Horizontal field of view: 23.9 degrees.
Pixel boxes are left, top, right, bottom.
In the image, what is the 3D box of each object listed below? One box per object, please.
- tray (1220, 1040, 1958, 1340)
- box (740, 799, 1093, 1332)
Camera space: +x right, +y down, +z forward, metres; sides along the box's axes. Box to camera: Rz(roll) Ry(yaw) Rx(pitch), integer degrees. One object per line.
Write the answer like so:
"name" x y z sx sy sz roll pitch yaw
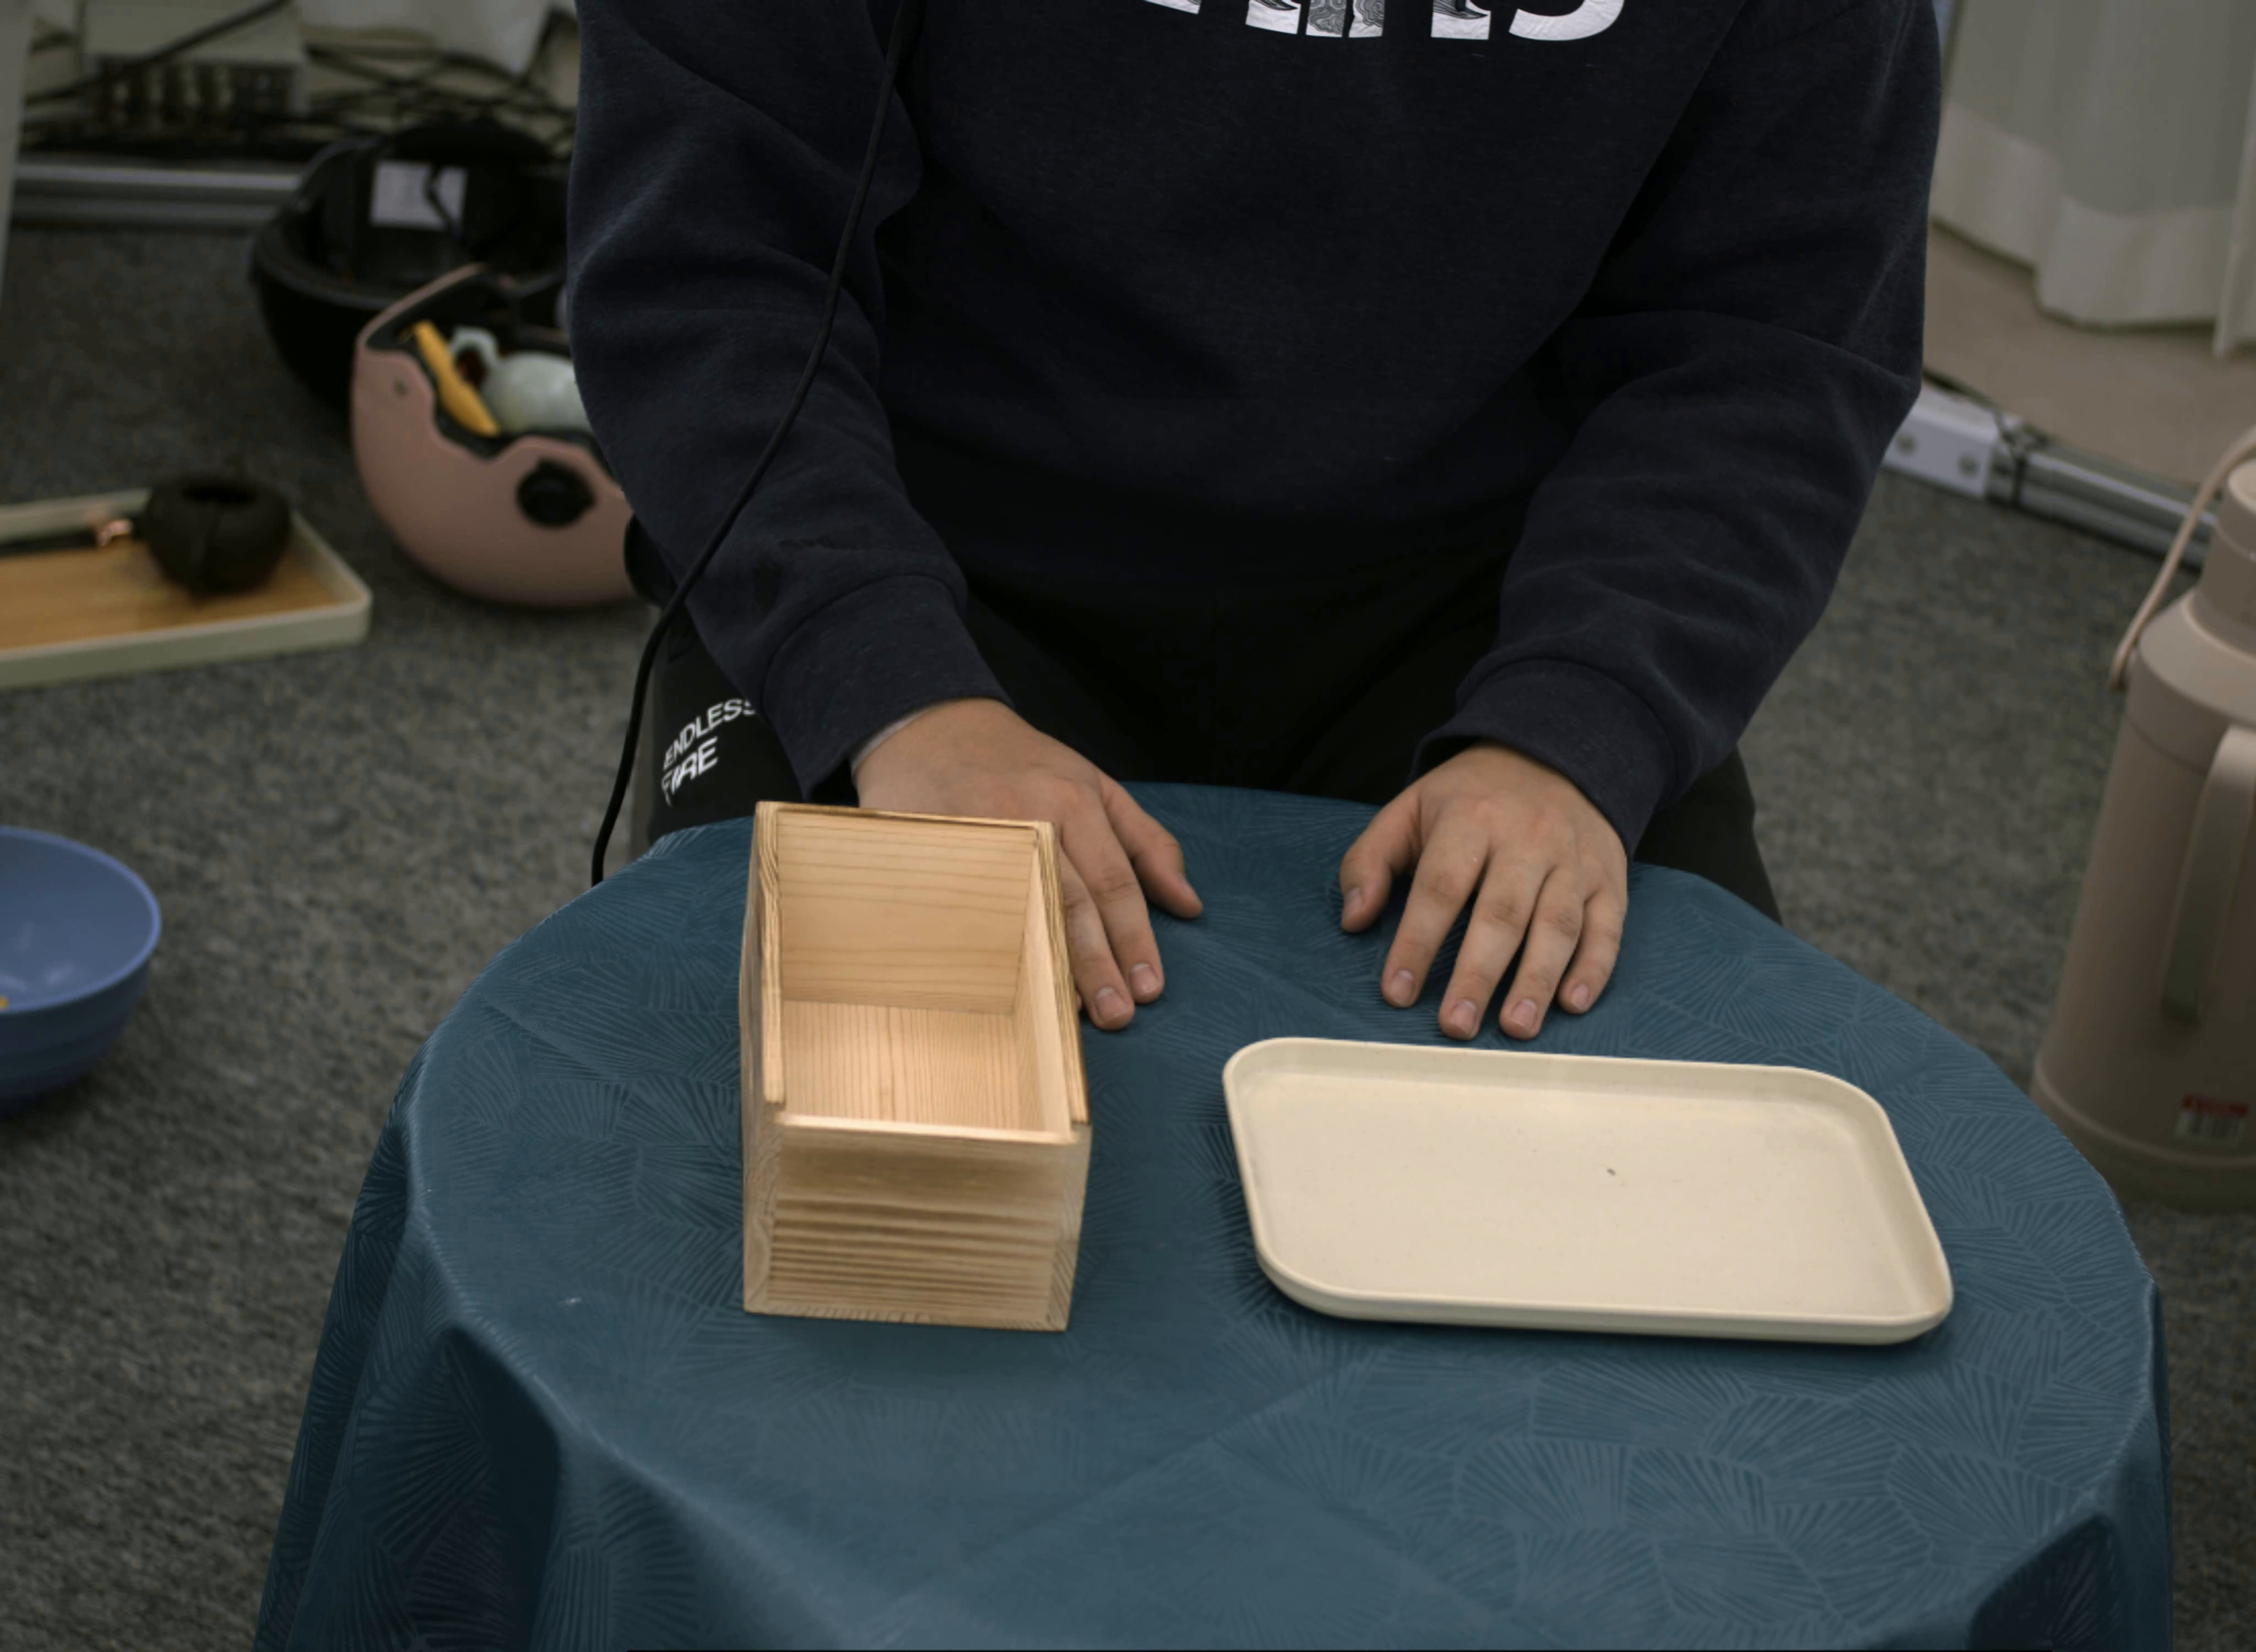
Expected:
"tray" 0.154 0.125 1.820 0.238 0.017 0.172 3 26 -7
"box" -0.074 0.077 1.792 0.107 0.080 0.213 4 27 -7
